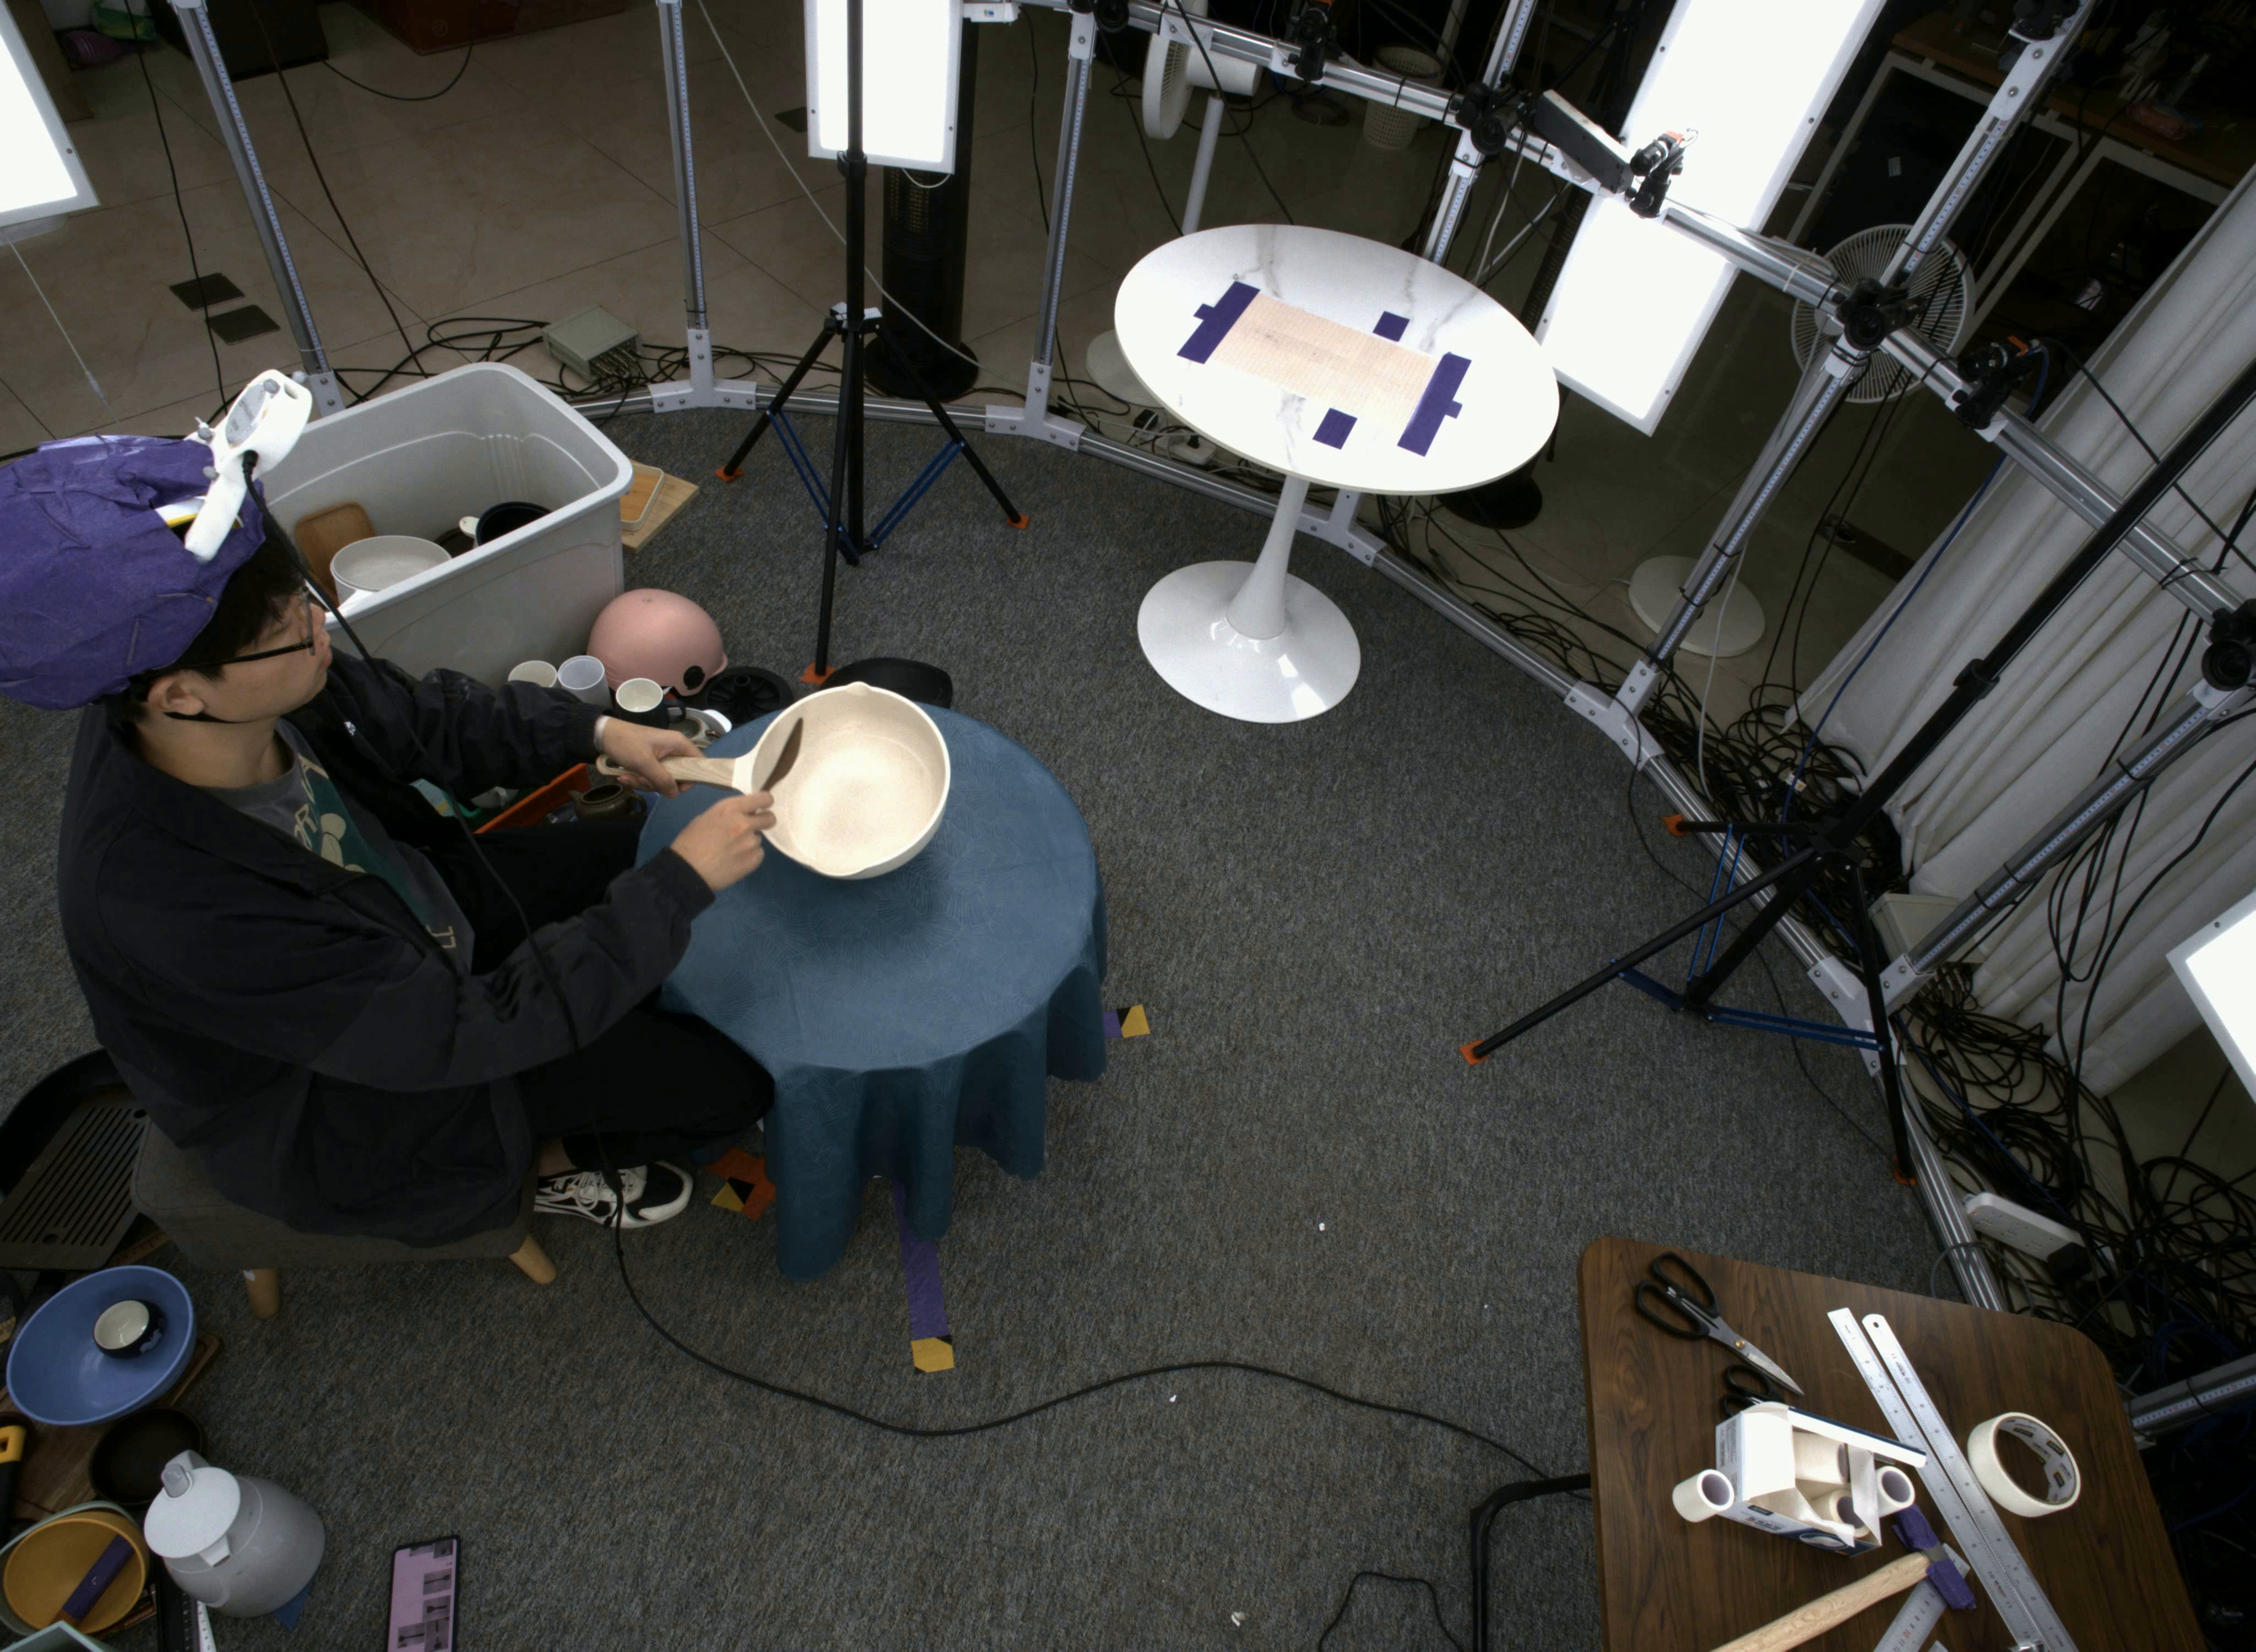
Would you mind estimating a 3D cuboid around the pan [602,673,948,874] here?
[{"bbox_3d":[-0.438,-0.059,1.632,0.431,0.103,0.261,0,70,-3],"label":"pan"}]

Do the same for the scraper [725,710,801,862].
[{"bbox_3d":[-0.425,-0.044,1.519,0.011,0.077,0.209,19,52,1],"label":"scraper"}]
